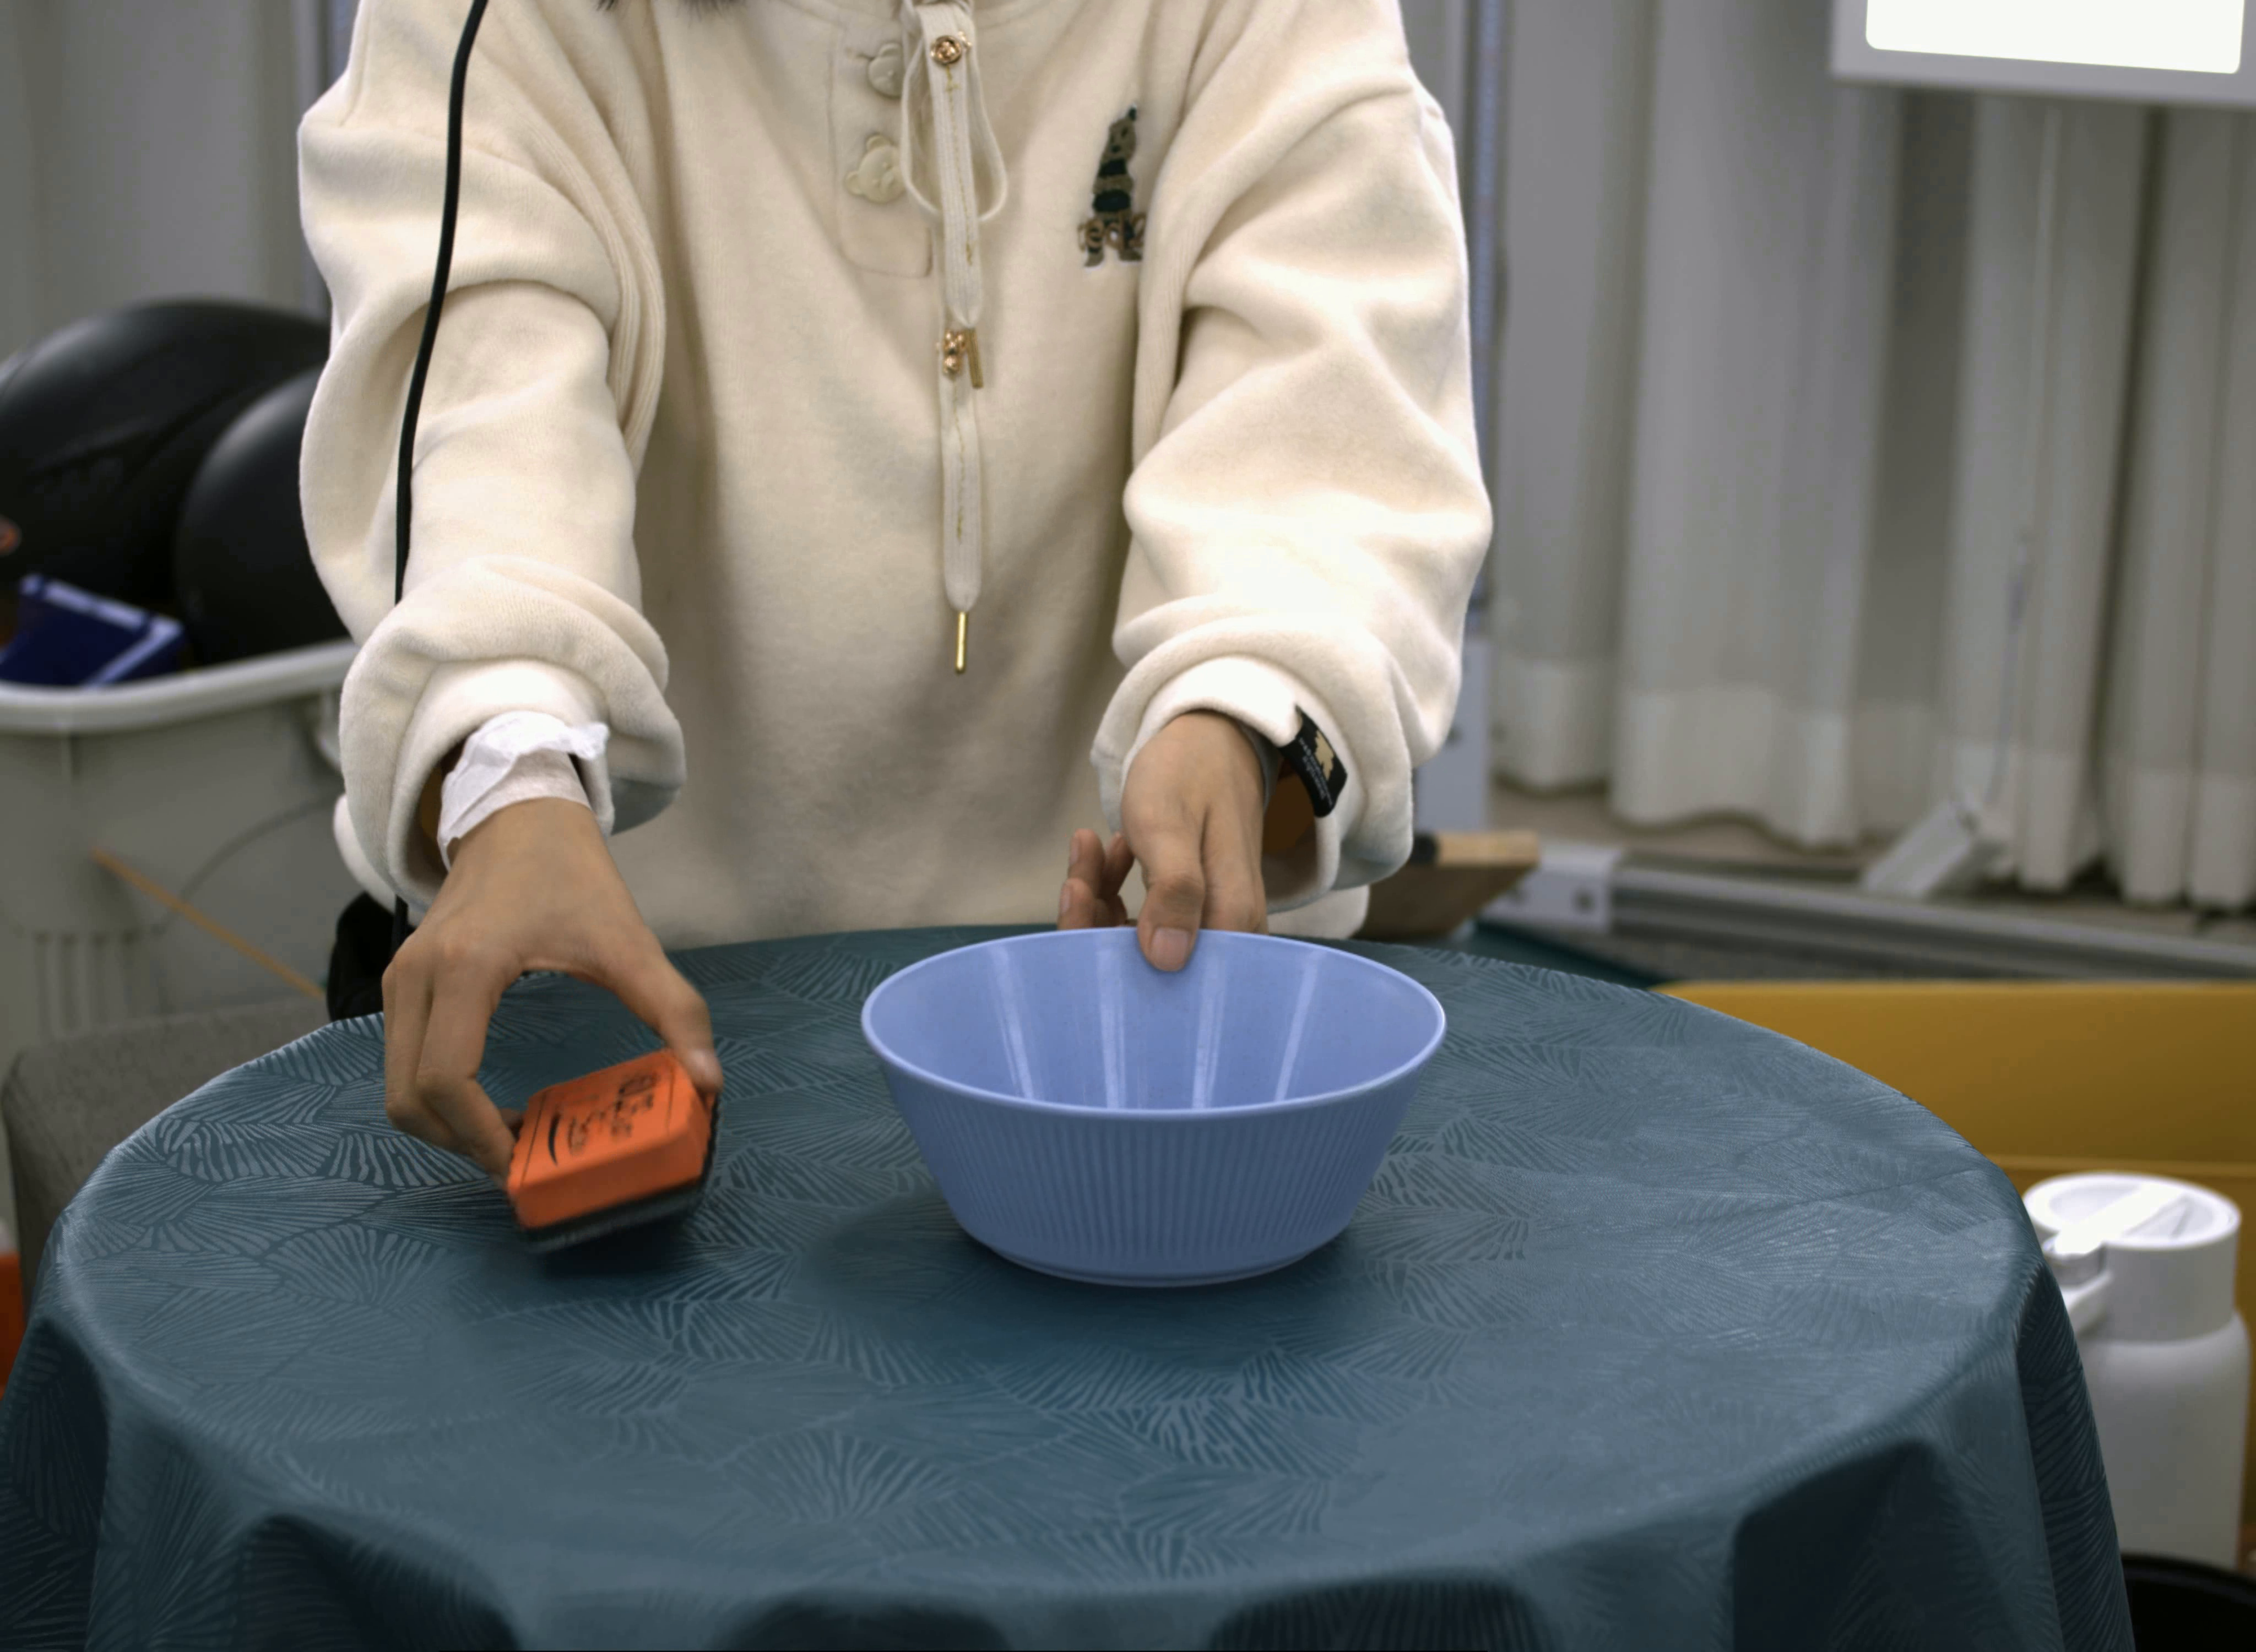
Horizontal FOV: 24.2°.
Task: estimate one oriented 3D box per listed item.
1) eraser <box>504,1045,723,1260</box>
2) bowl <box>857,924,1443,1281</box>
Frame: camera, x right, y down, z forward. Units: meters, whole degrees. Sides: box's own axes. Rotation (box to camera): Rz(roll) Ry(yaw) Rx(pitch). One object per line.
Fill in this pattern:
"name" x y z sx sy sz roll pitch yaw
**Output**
"eraser" -0.154 0.097 1.585 0.059 0.023 0.107 -18 14 3
"bowl" 0.006 0.086 1.580 0.175 0.071 0.175 1 17 0
